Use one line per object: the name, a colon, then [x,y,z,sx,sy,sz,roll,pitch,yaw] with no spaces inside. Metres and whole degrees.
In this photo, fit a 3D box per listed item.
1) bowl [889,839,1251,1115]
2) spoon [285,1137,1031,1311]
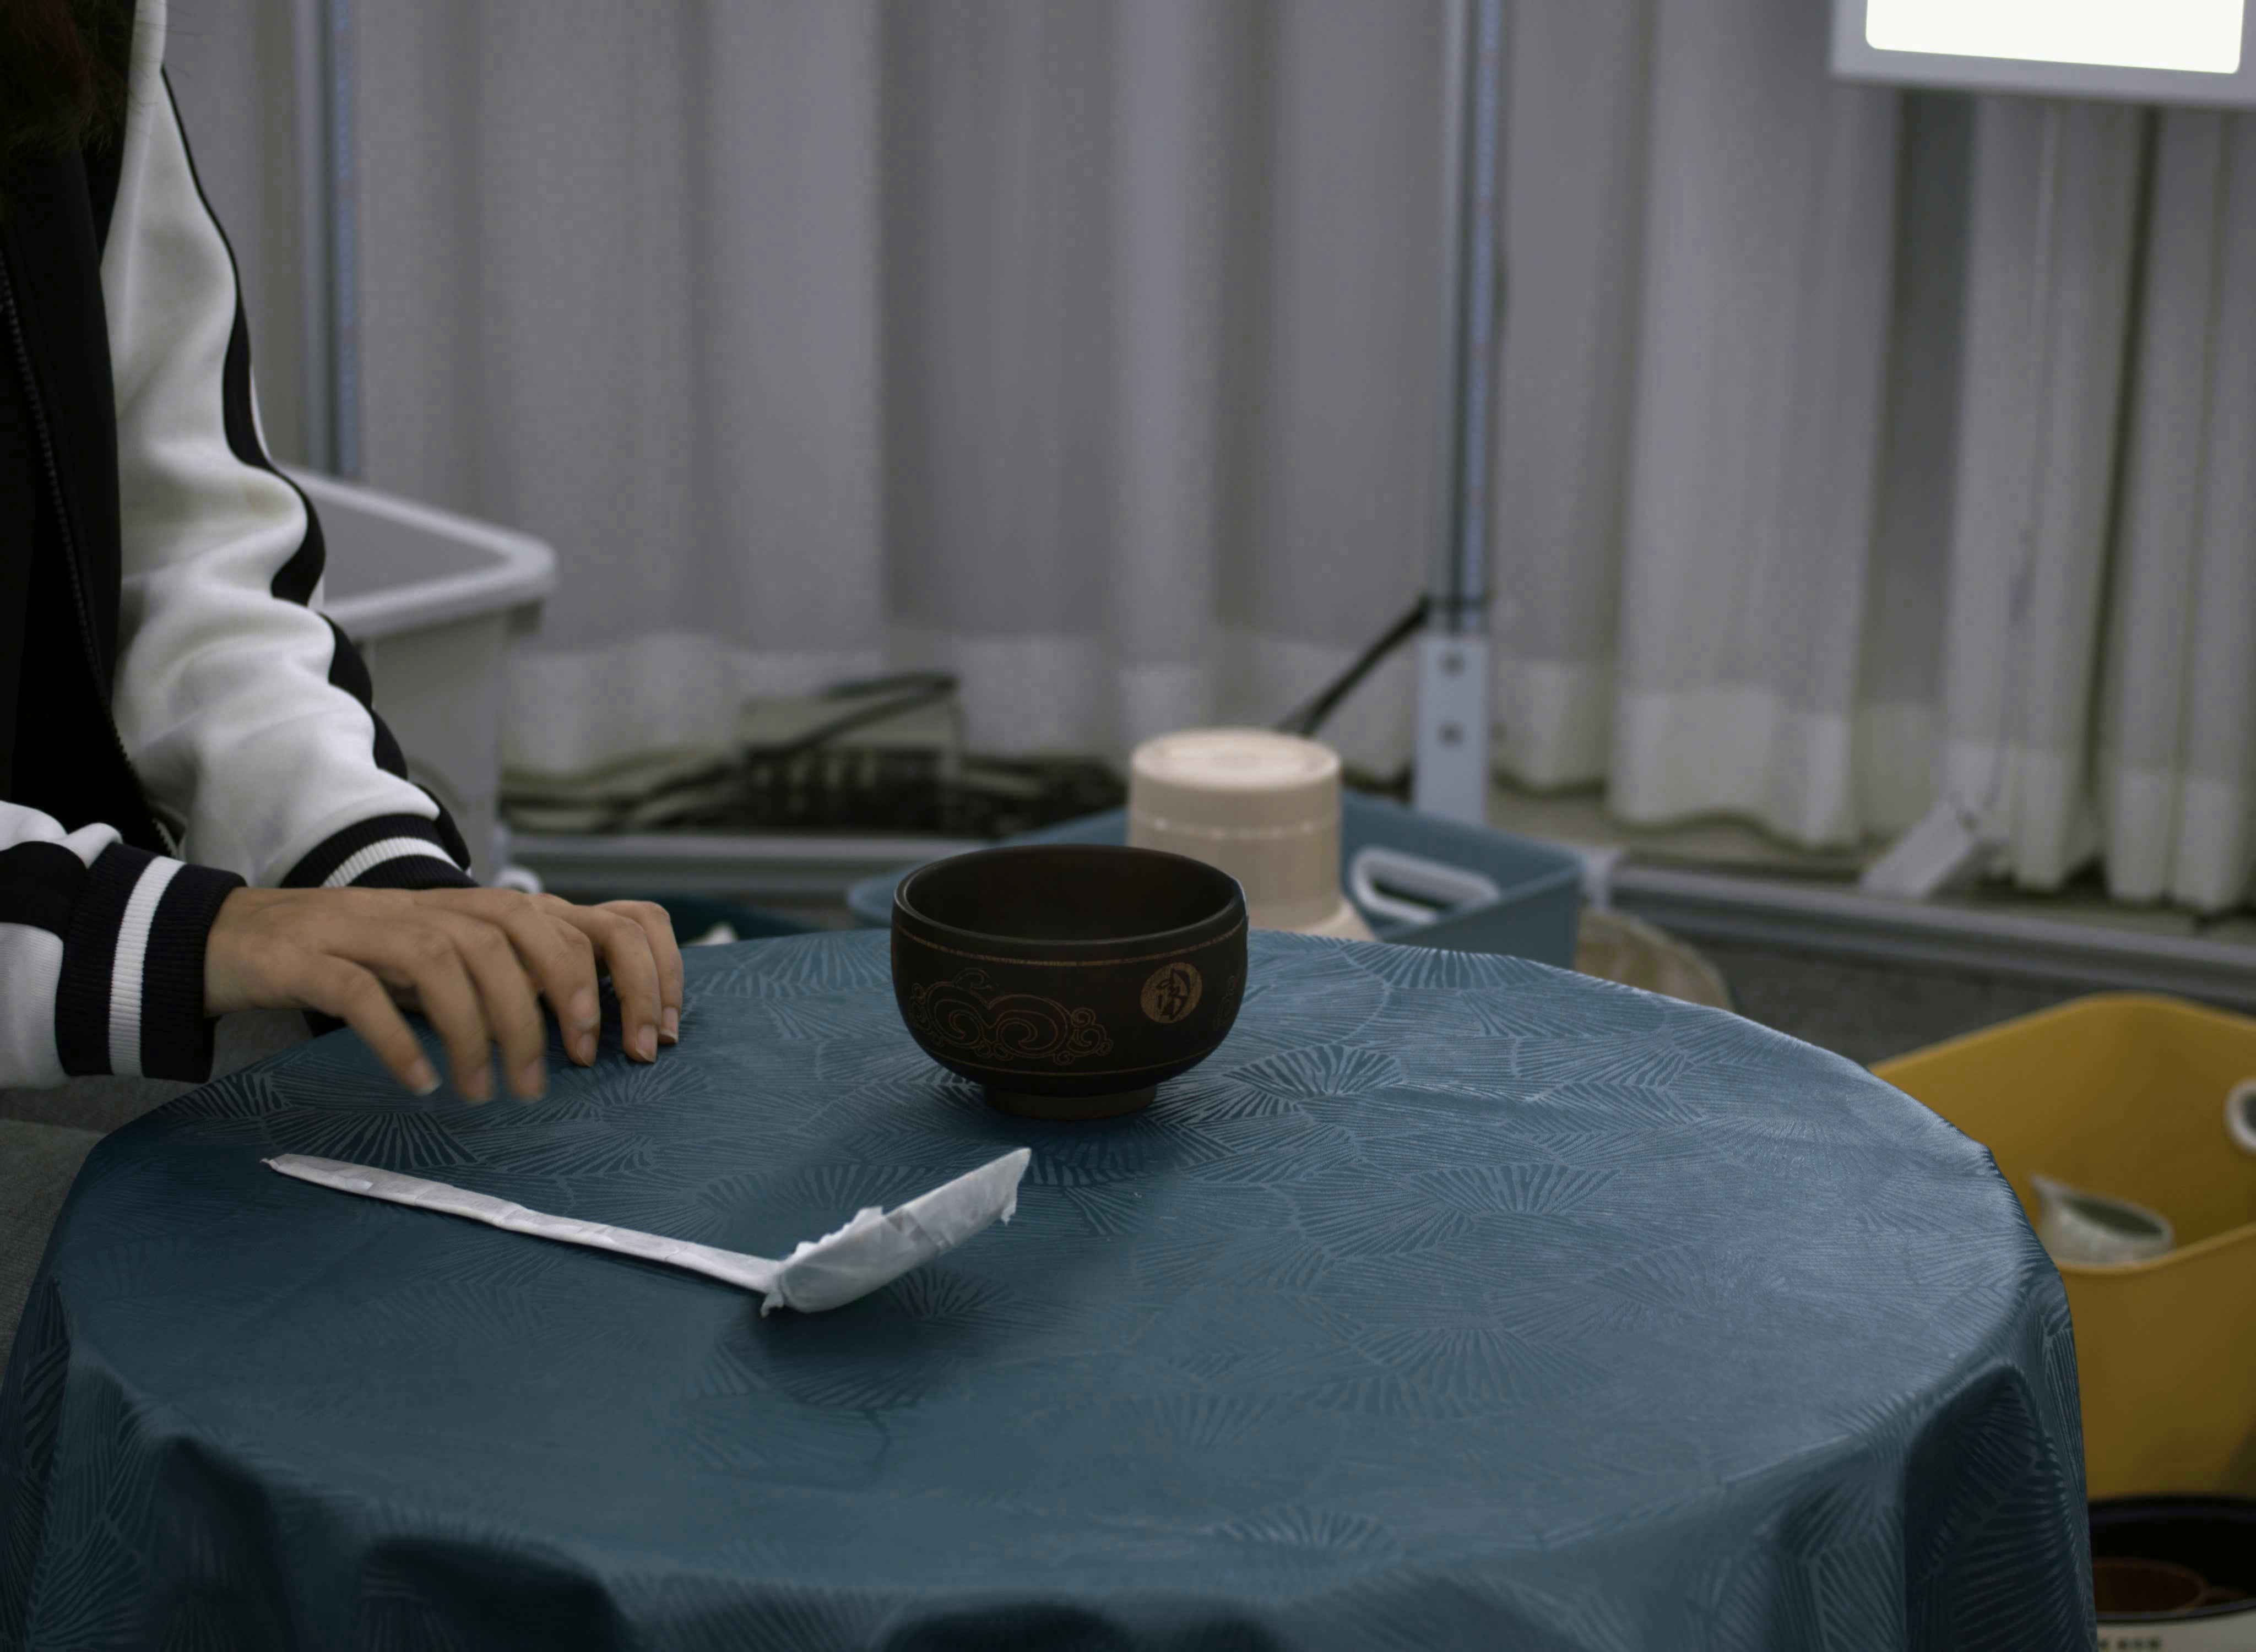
bowl: [-0.019,0.052,1.701,0.117,0.070,0.117,0,15,0]
spoon: [-0.147,0.097,1.564,0.274,0.060,0.101,12,16,35]
